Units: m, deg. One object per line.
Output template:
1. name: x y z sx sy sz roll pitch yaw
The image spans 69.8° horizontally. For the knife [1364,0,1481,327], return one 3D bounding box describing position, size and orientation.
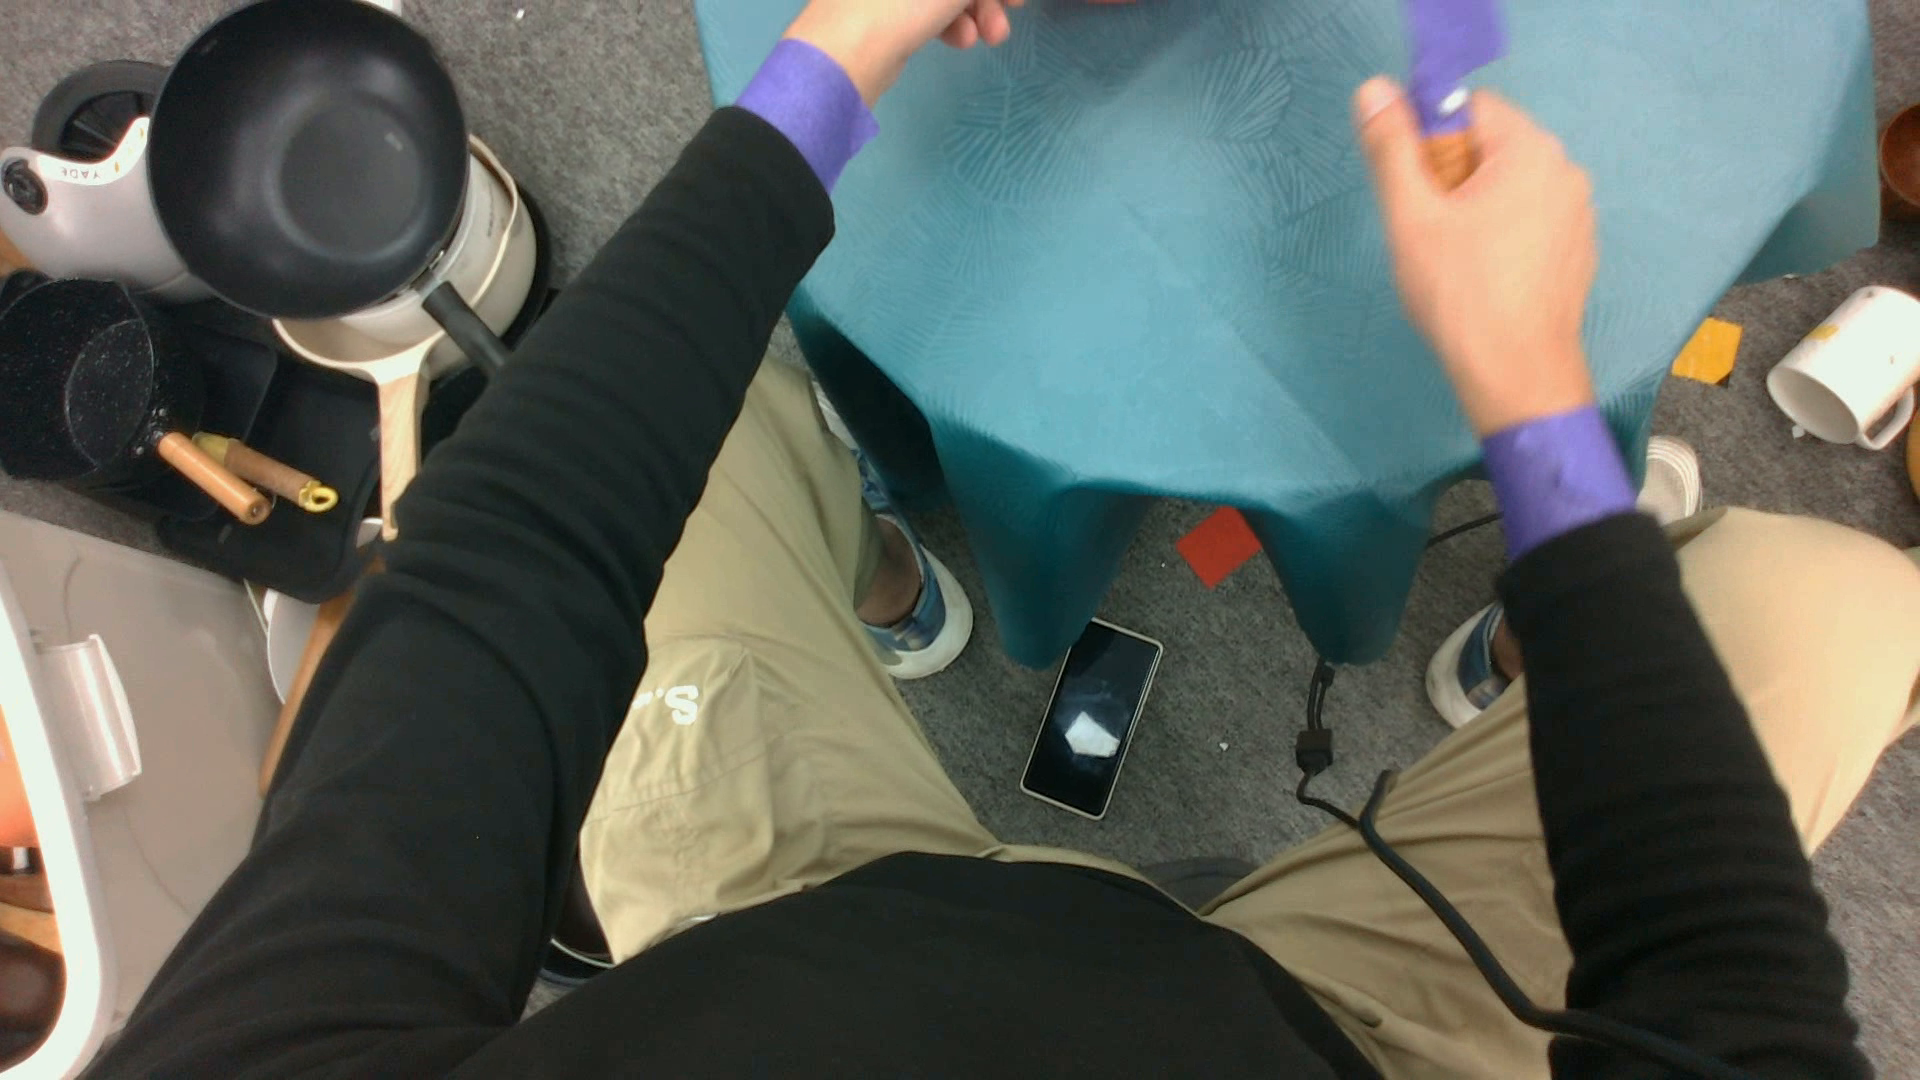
1. knife: 0.190 -0.253 0.590 0.032 0.104 0.314 2 120 43
